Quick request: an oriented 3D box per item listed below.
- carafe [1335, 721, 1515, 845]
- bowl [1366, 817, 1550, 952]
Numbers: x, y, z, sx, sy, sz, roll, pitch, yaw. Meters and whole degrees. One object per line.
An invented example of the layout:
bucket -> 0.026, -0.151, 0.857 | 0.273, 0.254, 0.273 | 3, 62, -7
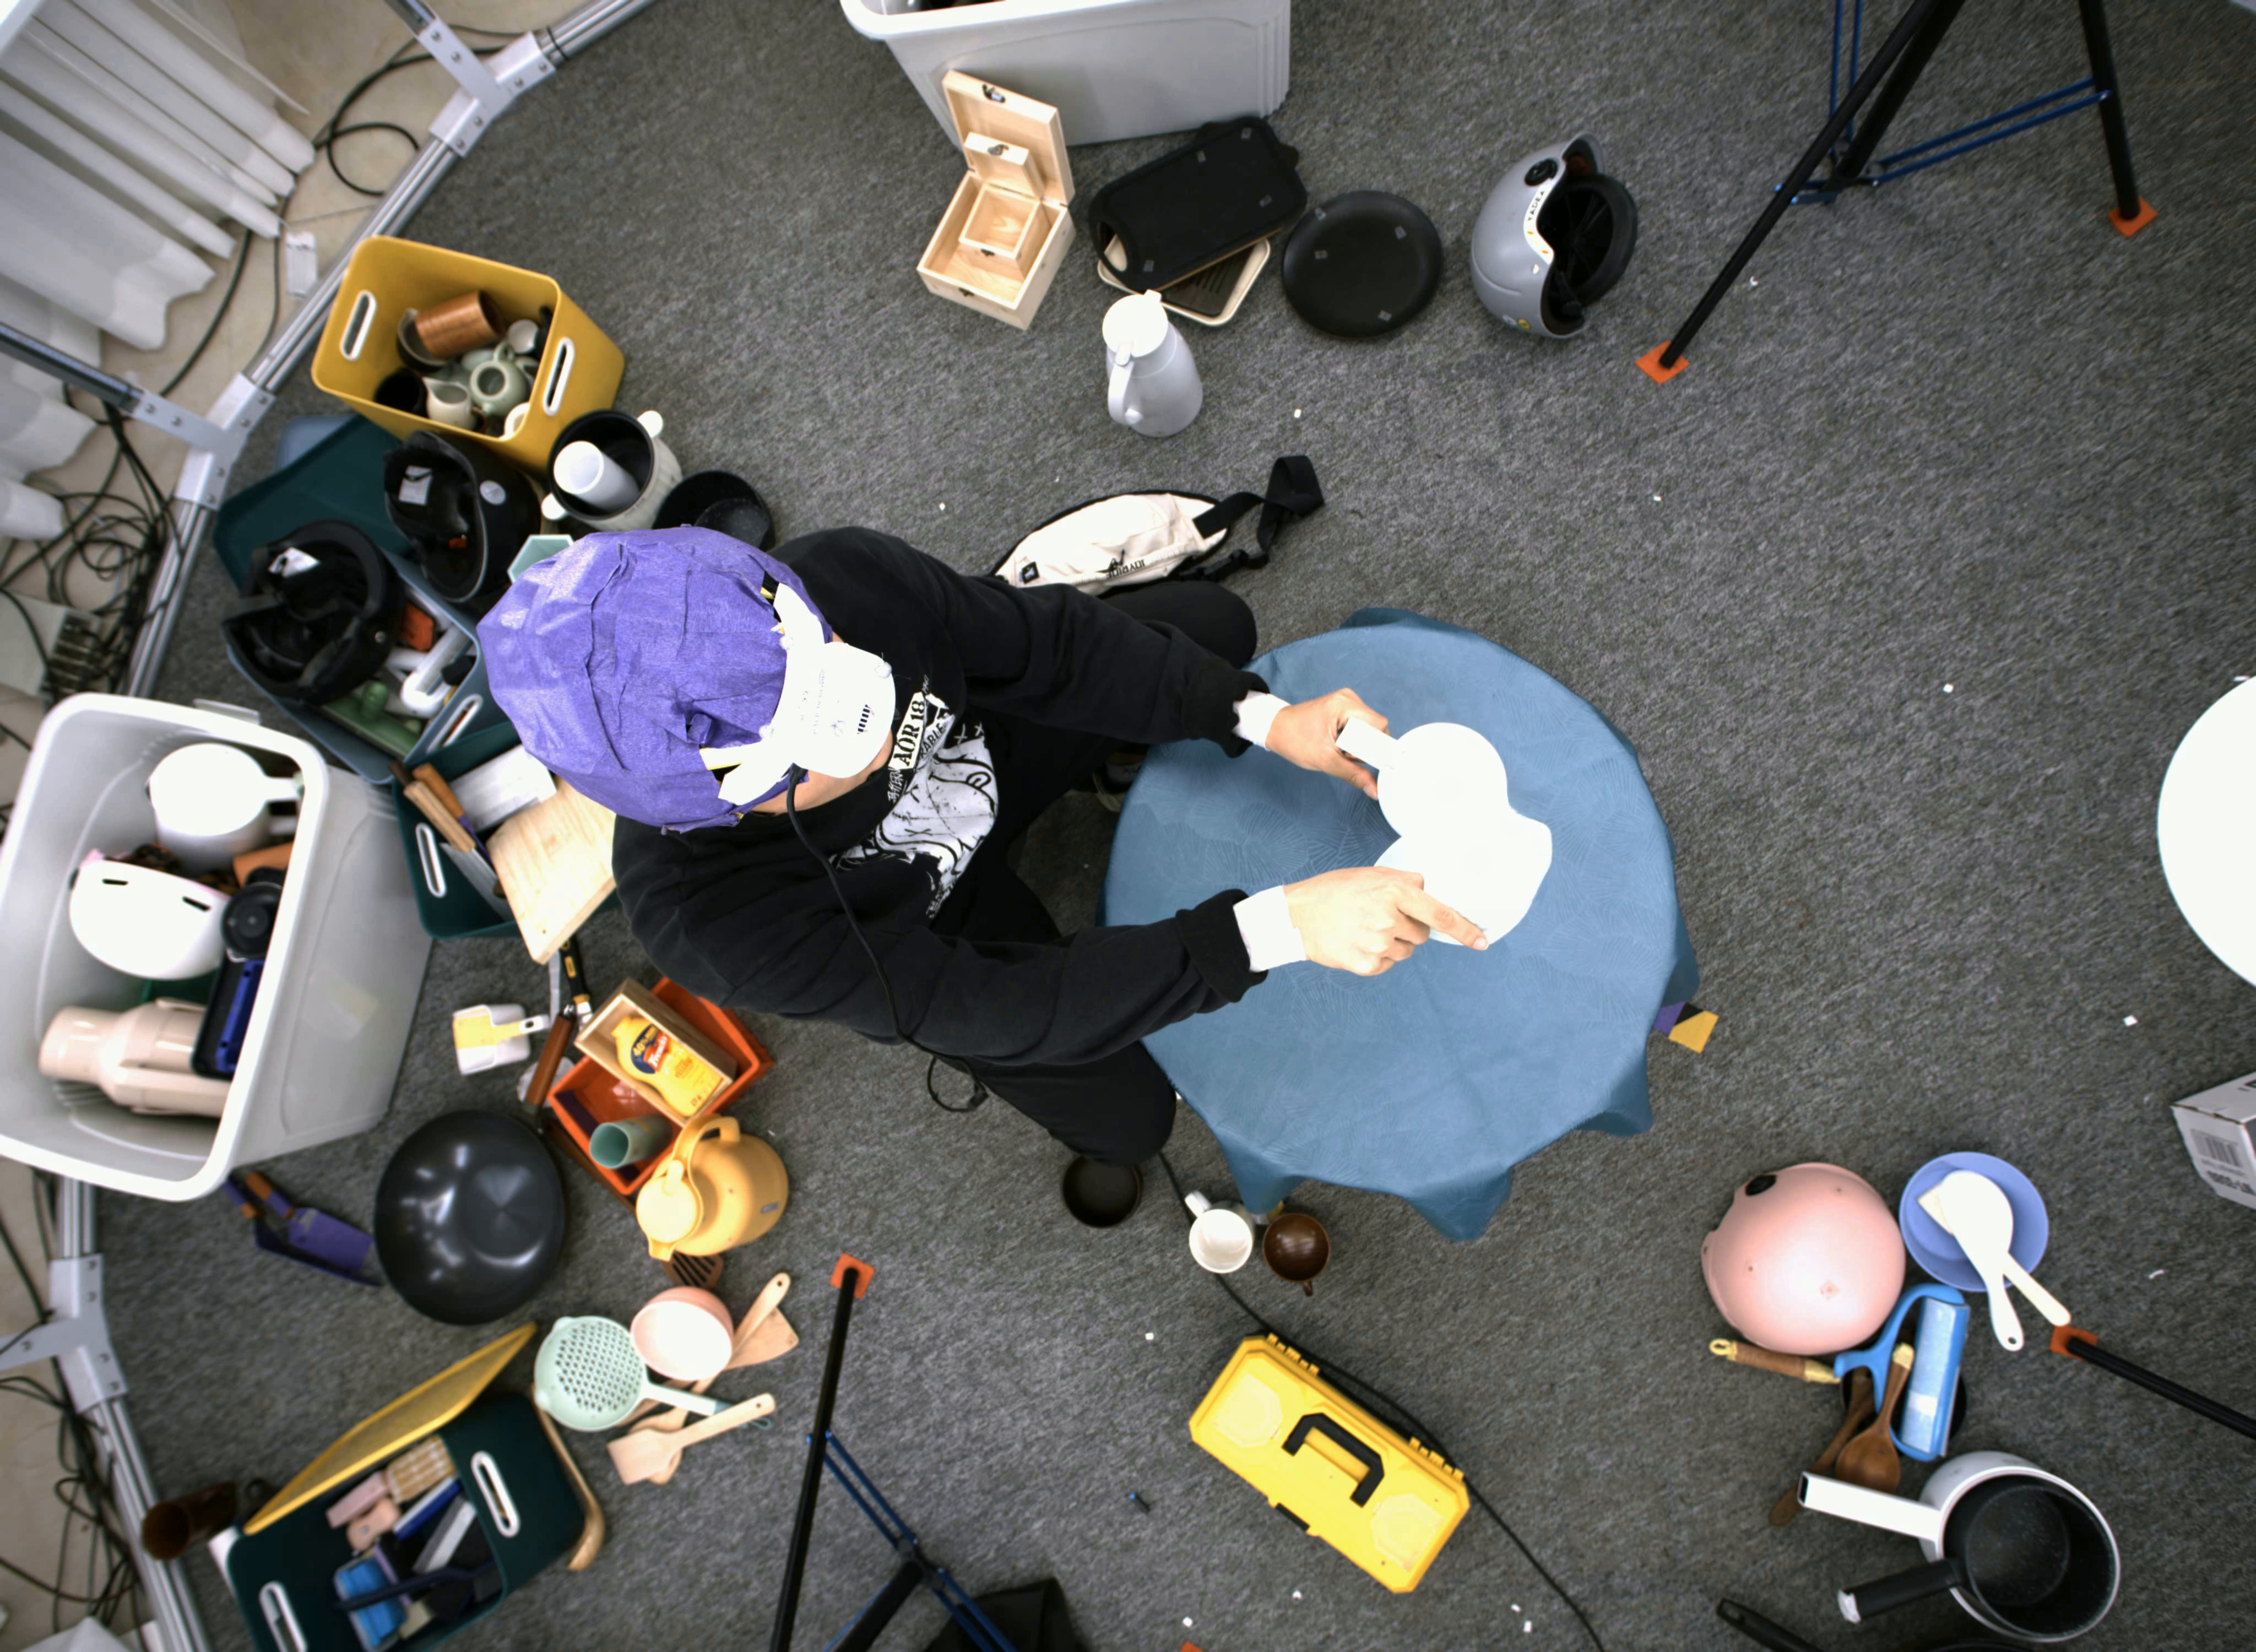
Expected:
carafe -> 0.282, -0.046, 1.324 | 0.172, 0.267, 0.125 | 29, 99, 8
bowl -> 0.275, 0.052, 1.129 | 0.152, 0.148, 0.059 | -18, 116, 9
